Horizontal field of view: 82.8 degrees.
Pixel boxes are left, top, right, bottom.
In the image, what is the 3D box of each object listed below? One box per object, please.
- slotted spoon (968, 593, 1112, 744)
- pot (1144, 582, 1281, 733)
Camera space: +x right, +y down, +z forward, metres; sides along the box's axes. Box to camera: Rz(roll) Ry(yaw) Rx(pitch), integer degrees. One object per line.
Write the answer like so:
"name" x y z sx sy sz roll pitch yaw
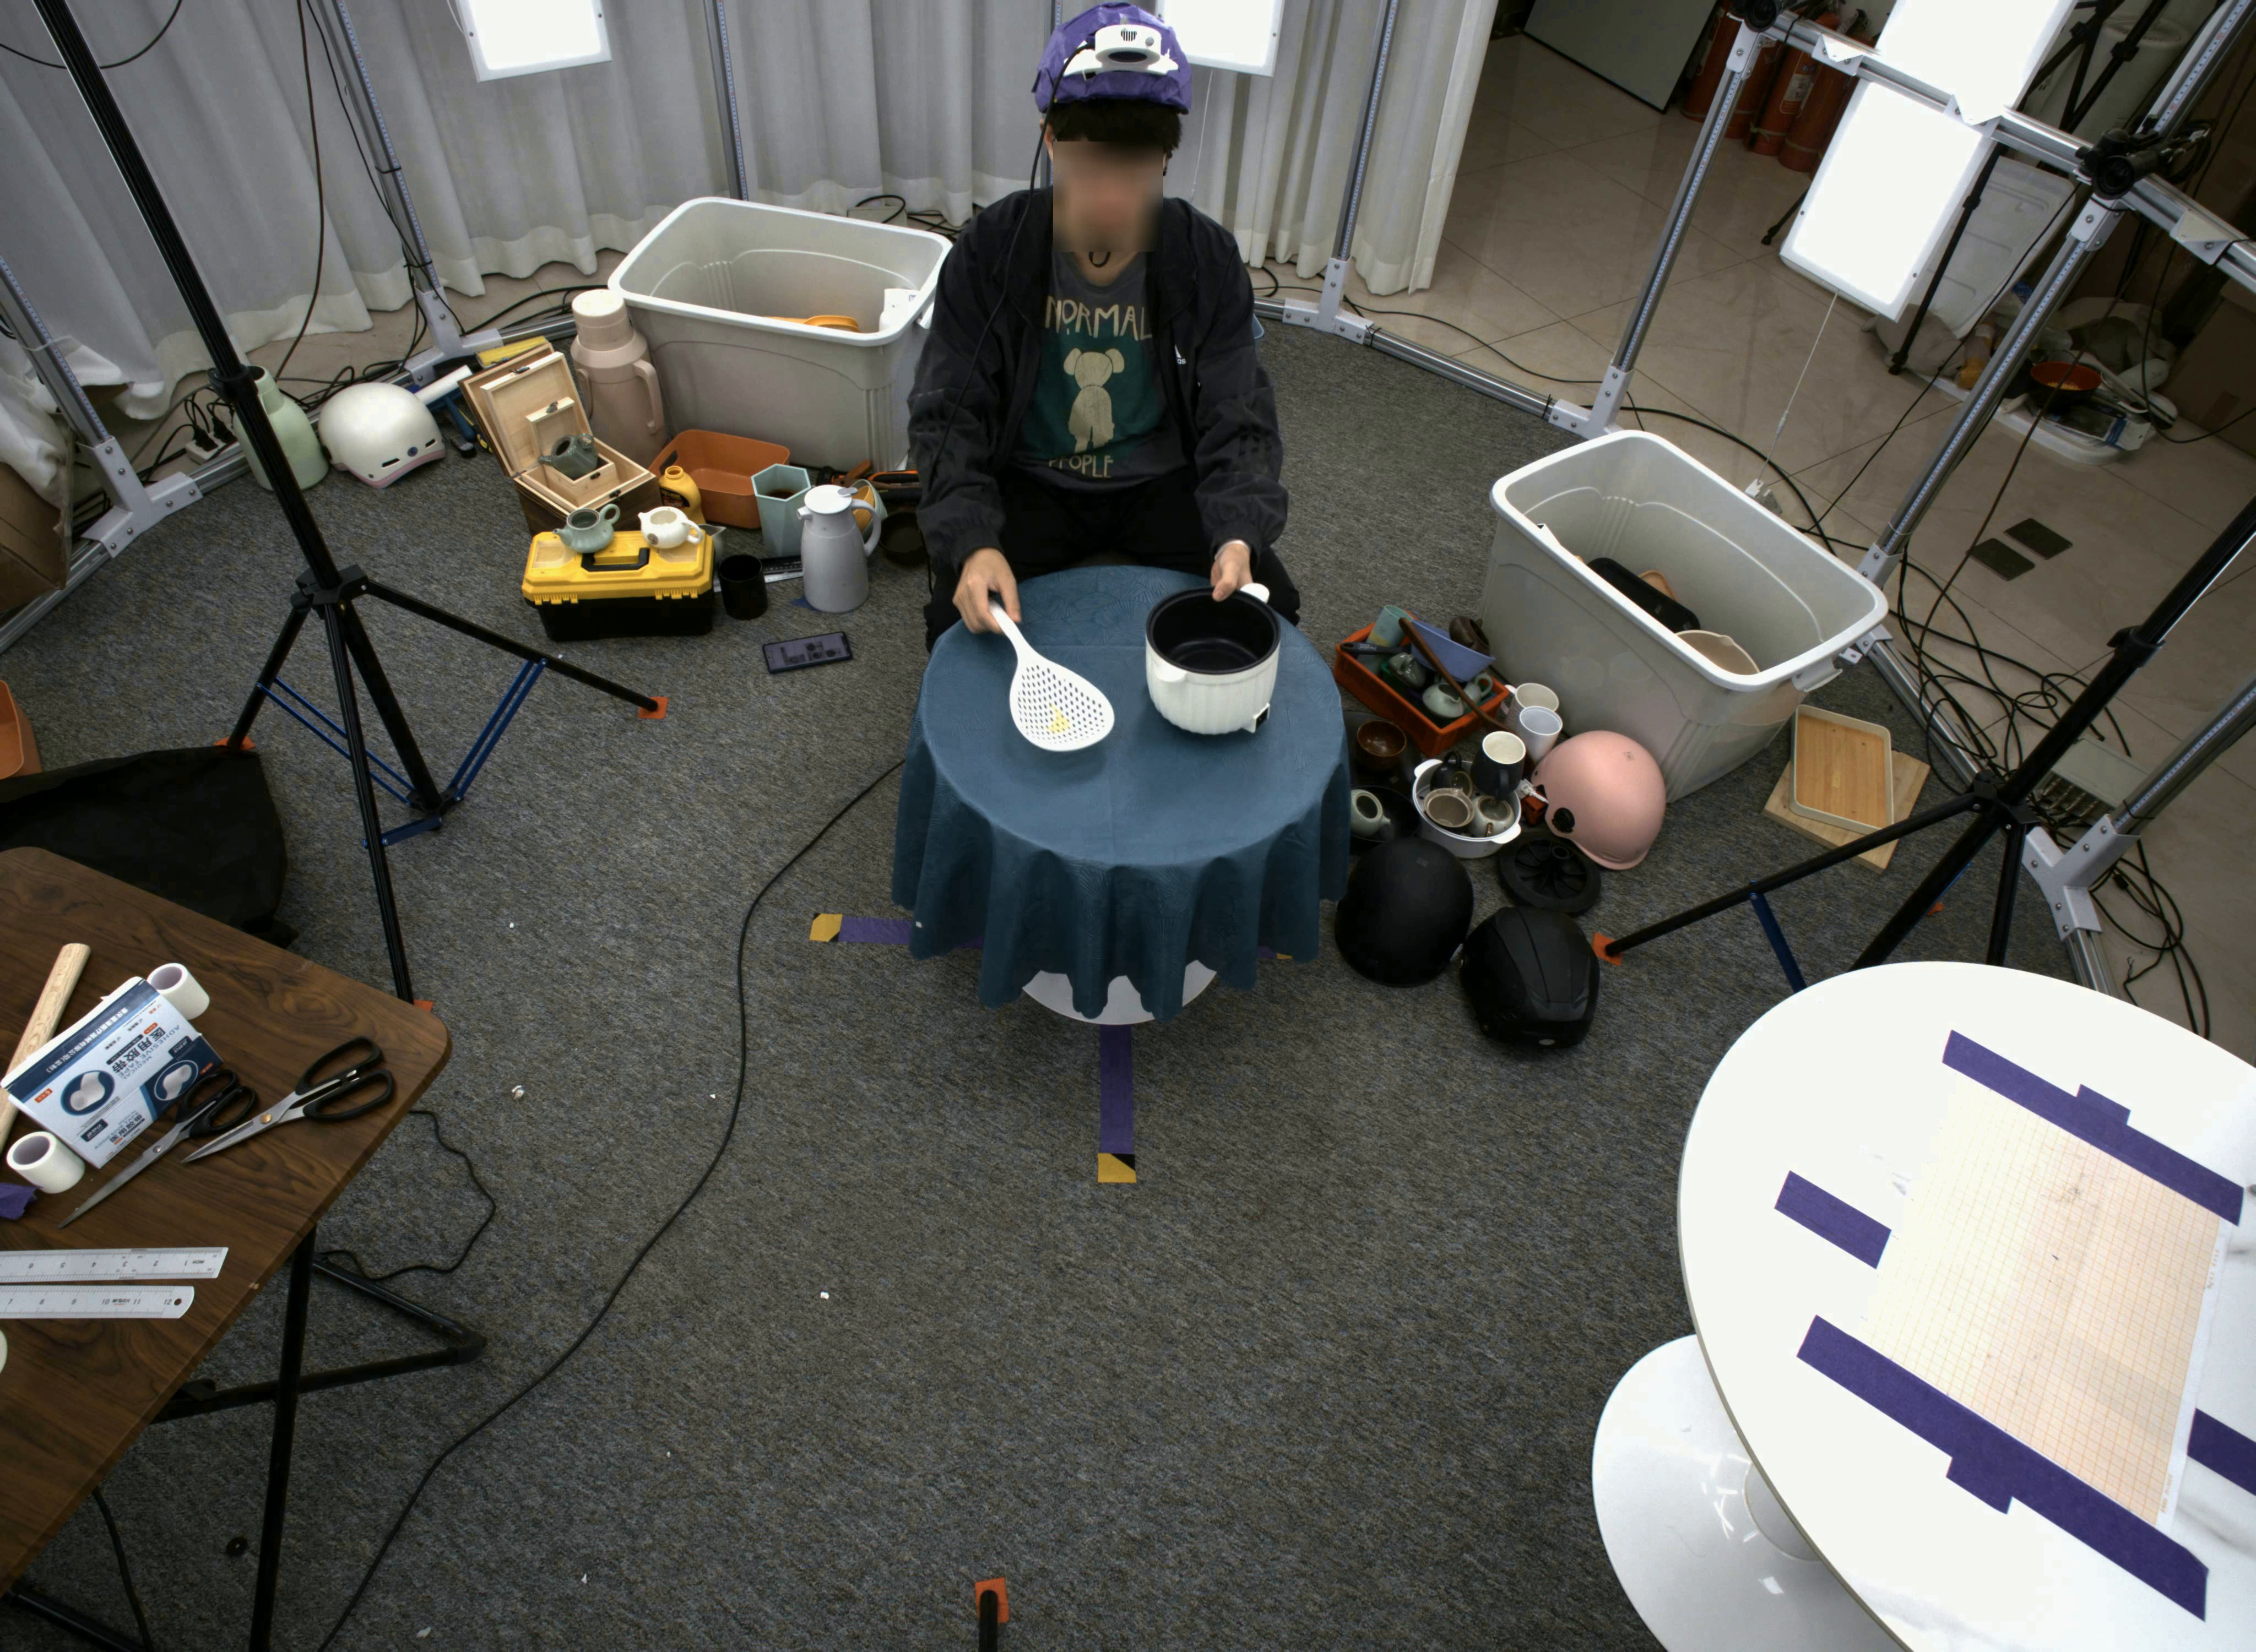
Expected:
"slotted spoon" -0.143 -0.230 1.800 0.137 0.049 0.355 -18 56 -21
"pot" 0.108 -0.225 1.762 0.193 0.139 0.243 30 53 22
